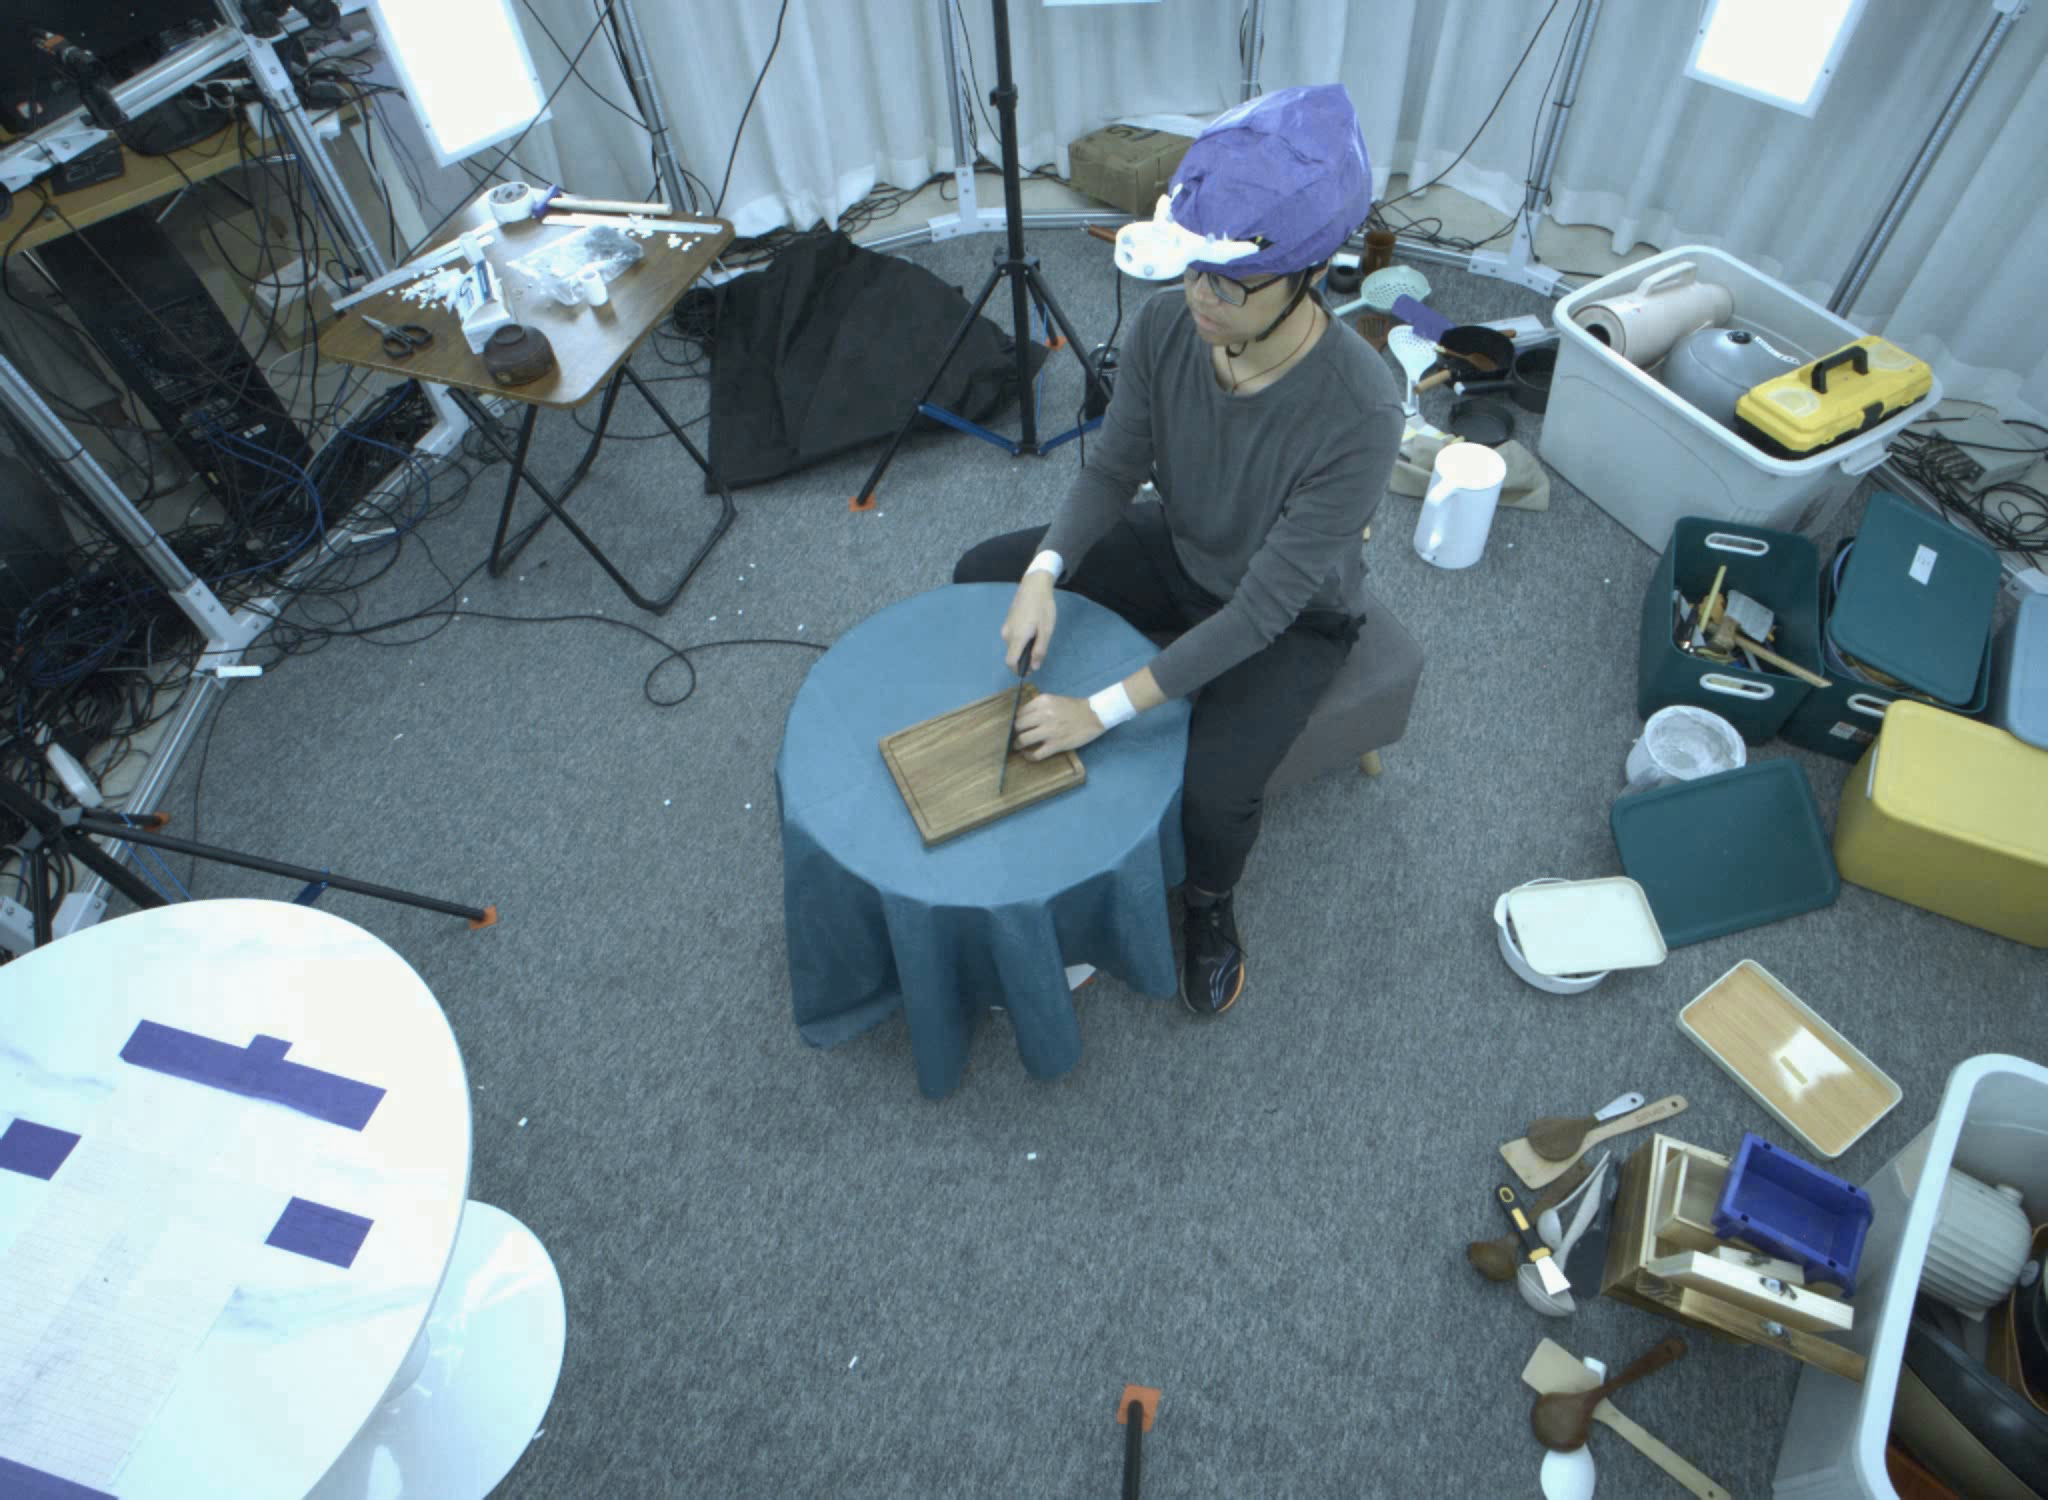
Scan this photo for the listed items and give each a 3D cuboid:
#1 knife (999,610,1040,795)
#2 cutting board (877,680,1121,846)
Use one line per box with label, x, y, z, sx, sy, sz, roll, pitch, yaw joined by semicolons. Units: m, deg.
knife;-0.009;-0.077;1.776;0.021;0.081;0.300;9;64;2
cutting board;-0.017;-0.004;1.785;0.355;0.023;0.197;-22;58;-14
